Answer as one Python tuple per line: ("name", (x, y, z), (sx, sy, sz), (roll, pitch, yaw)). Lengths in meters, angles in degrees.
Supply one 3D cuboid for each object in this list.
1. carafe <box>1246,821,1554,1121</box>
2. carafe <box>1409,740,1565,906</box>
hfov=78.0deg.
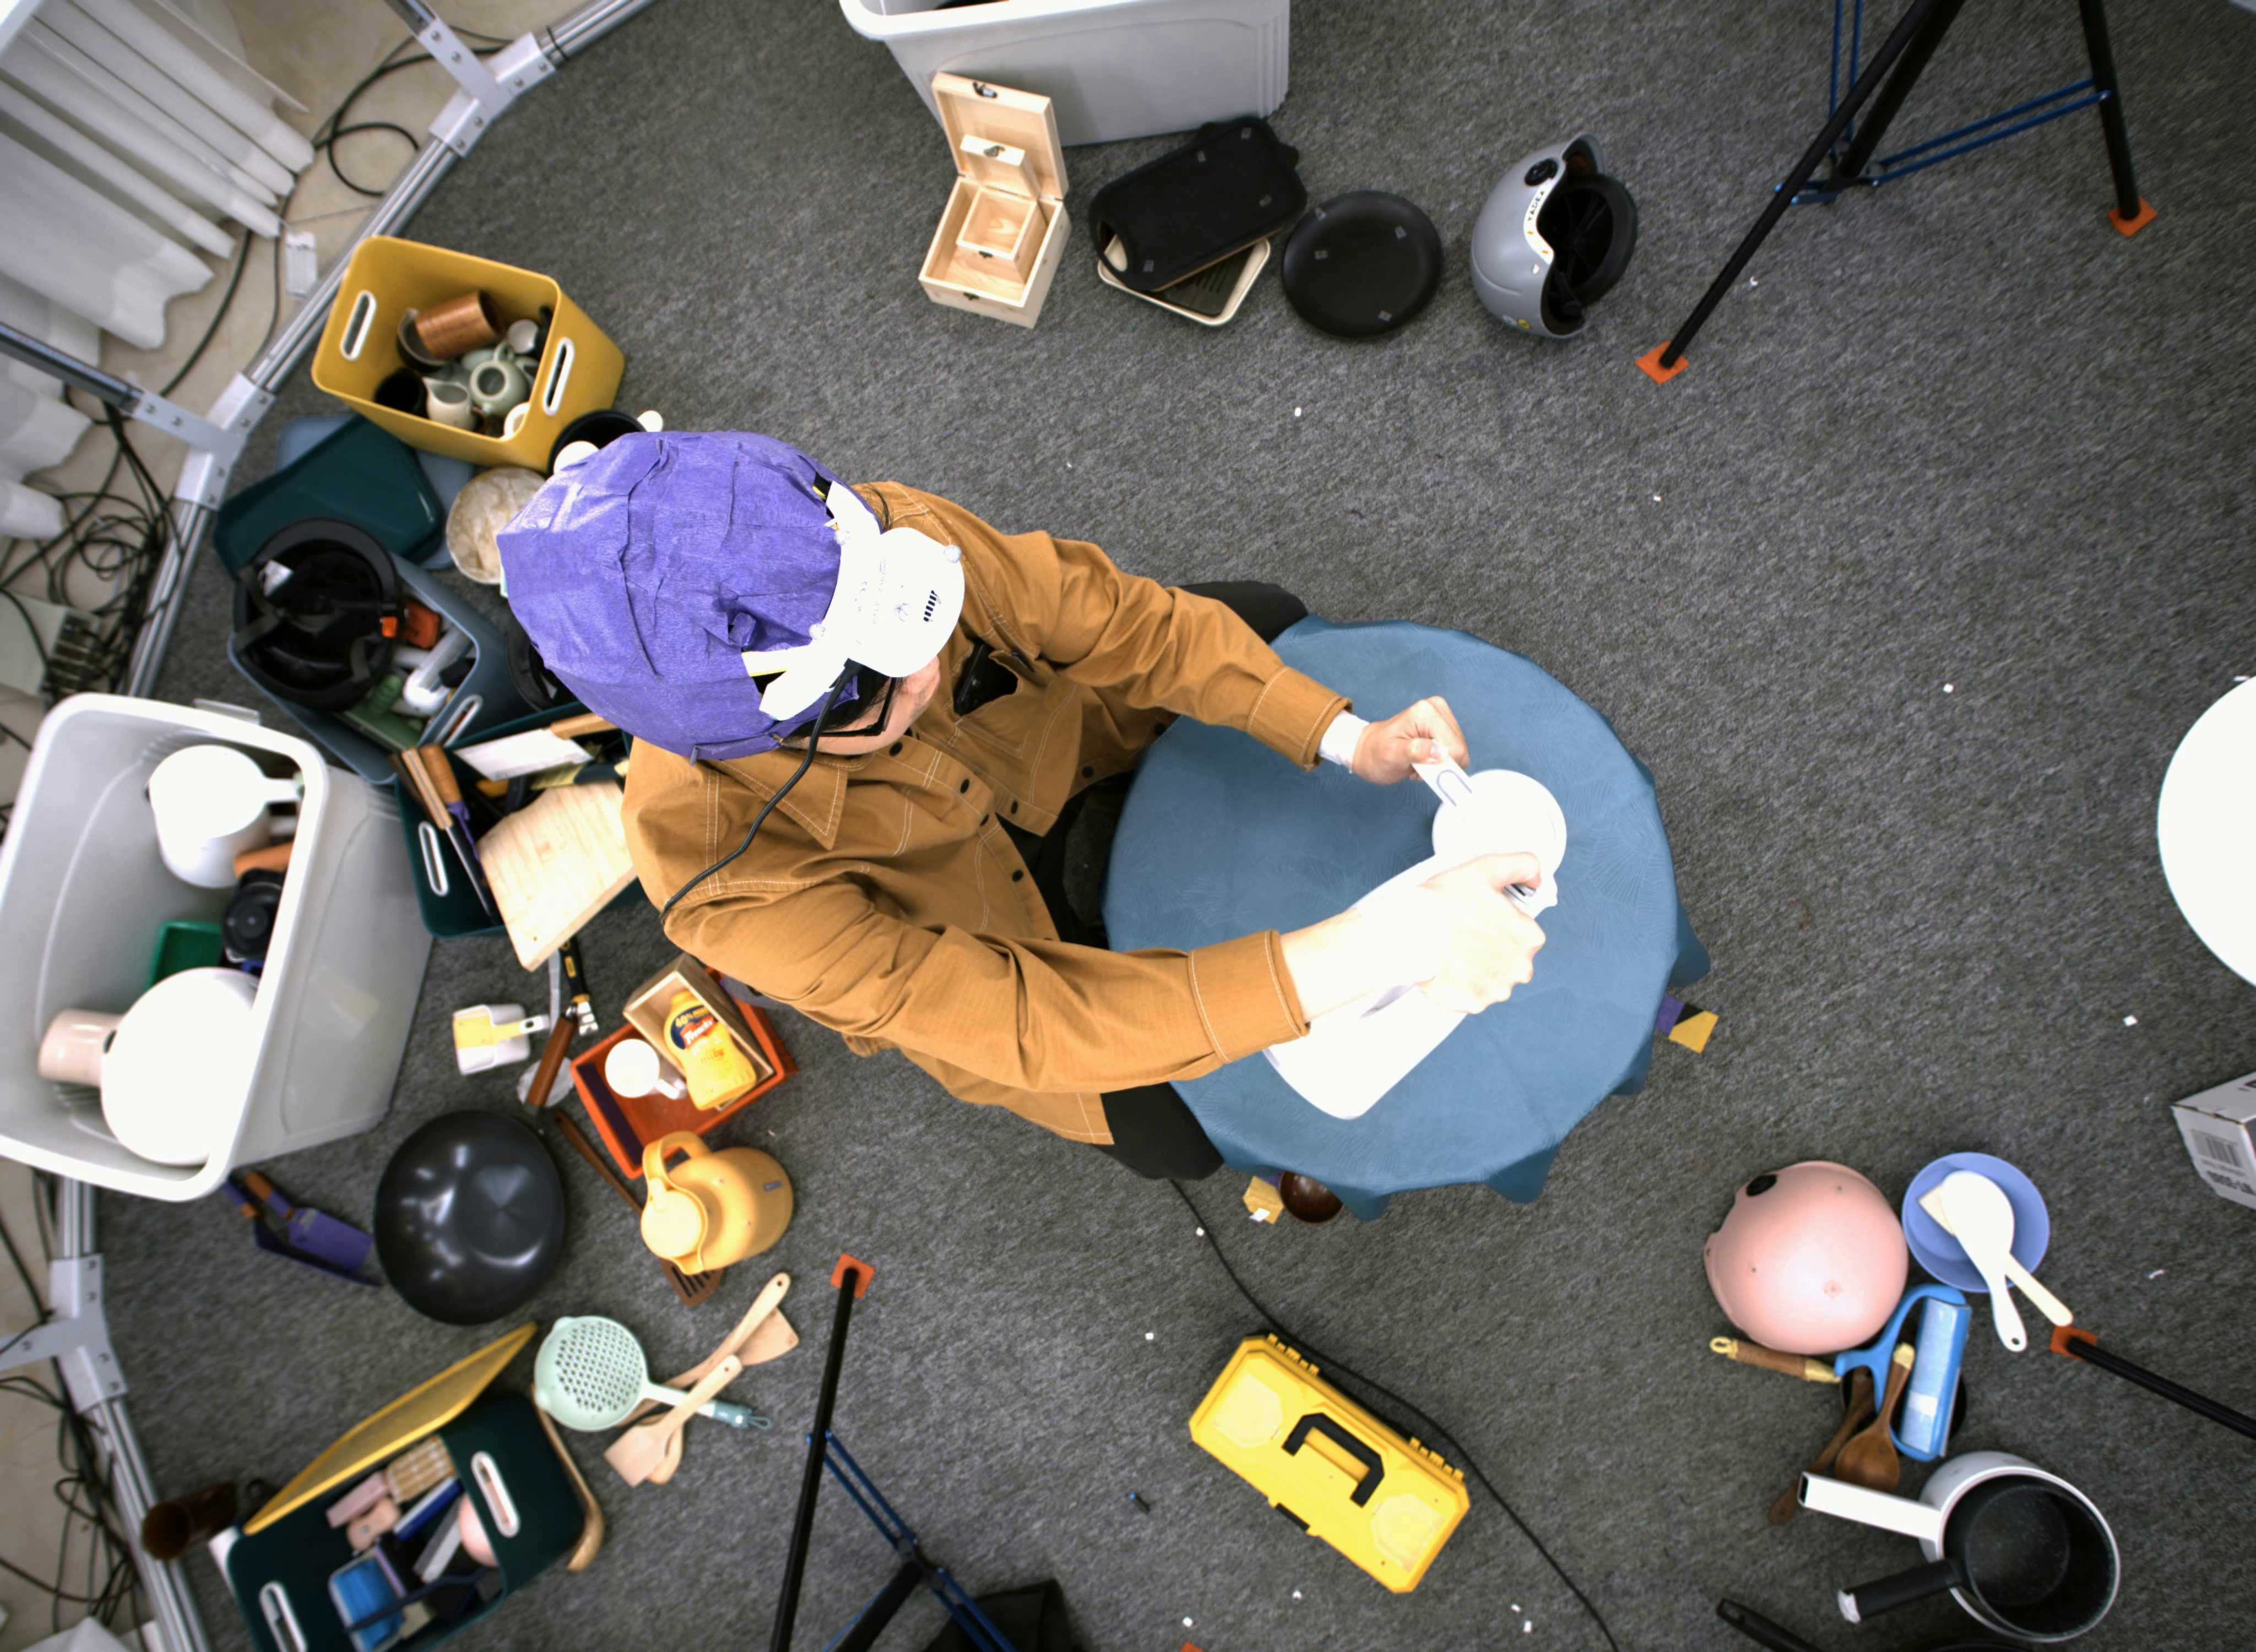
("carafe", (0.223, 0.115, 1.096), (0.133, 0.164, 0.253), (41, 113, -4))
("carafe", (0.332, -0.007, 1.287), (0.125, 0.266, 0.172), (-42, 83, 16))
